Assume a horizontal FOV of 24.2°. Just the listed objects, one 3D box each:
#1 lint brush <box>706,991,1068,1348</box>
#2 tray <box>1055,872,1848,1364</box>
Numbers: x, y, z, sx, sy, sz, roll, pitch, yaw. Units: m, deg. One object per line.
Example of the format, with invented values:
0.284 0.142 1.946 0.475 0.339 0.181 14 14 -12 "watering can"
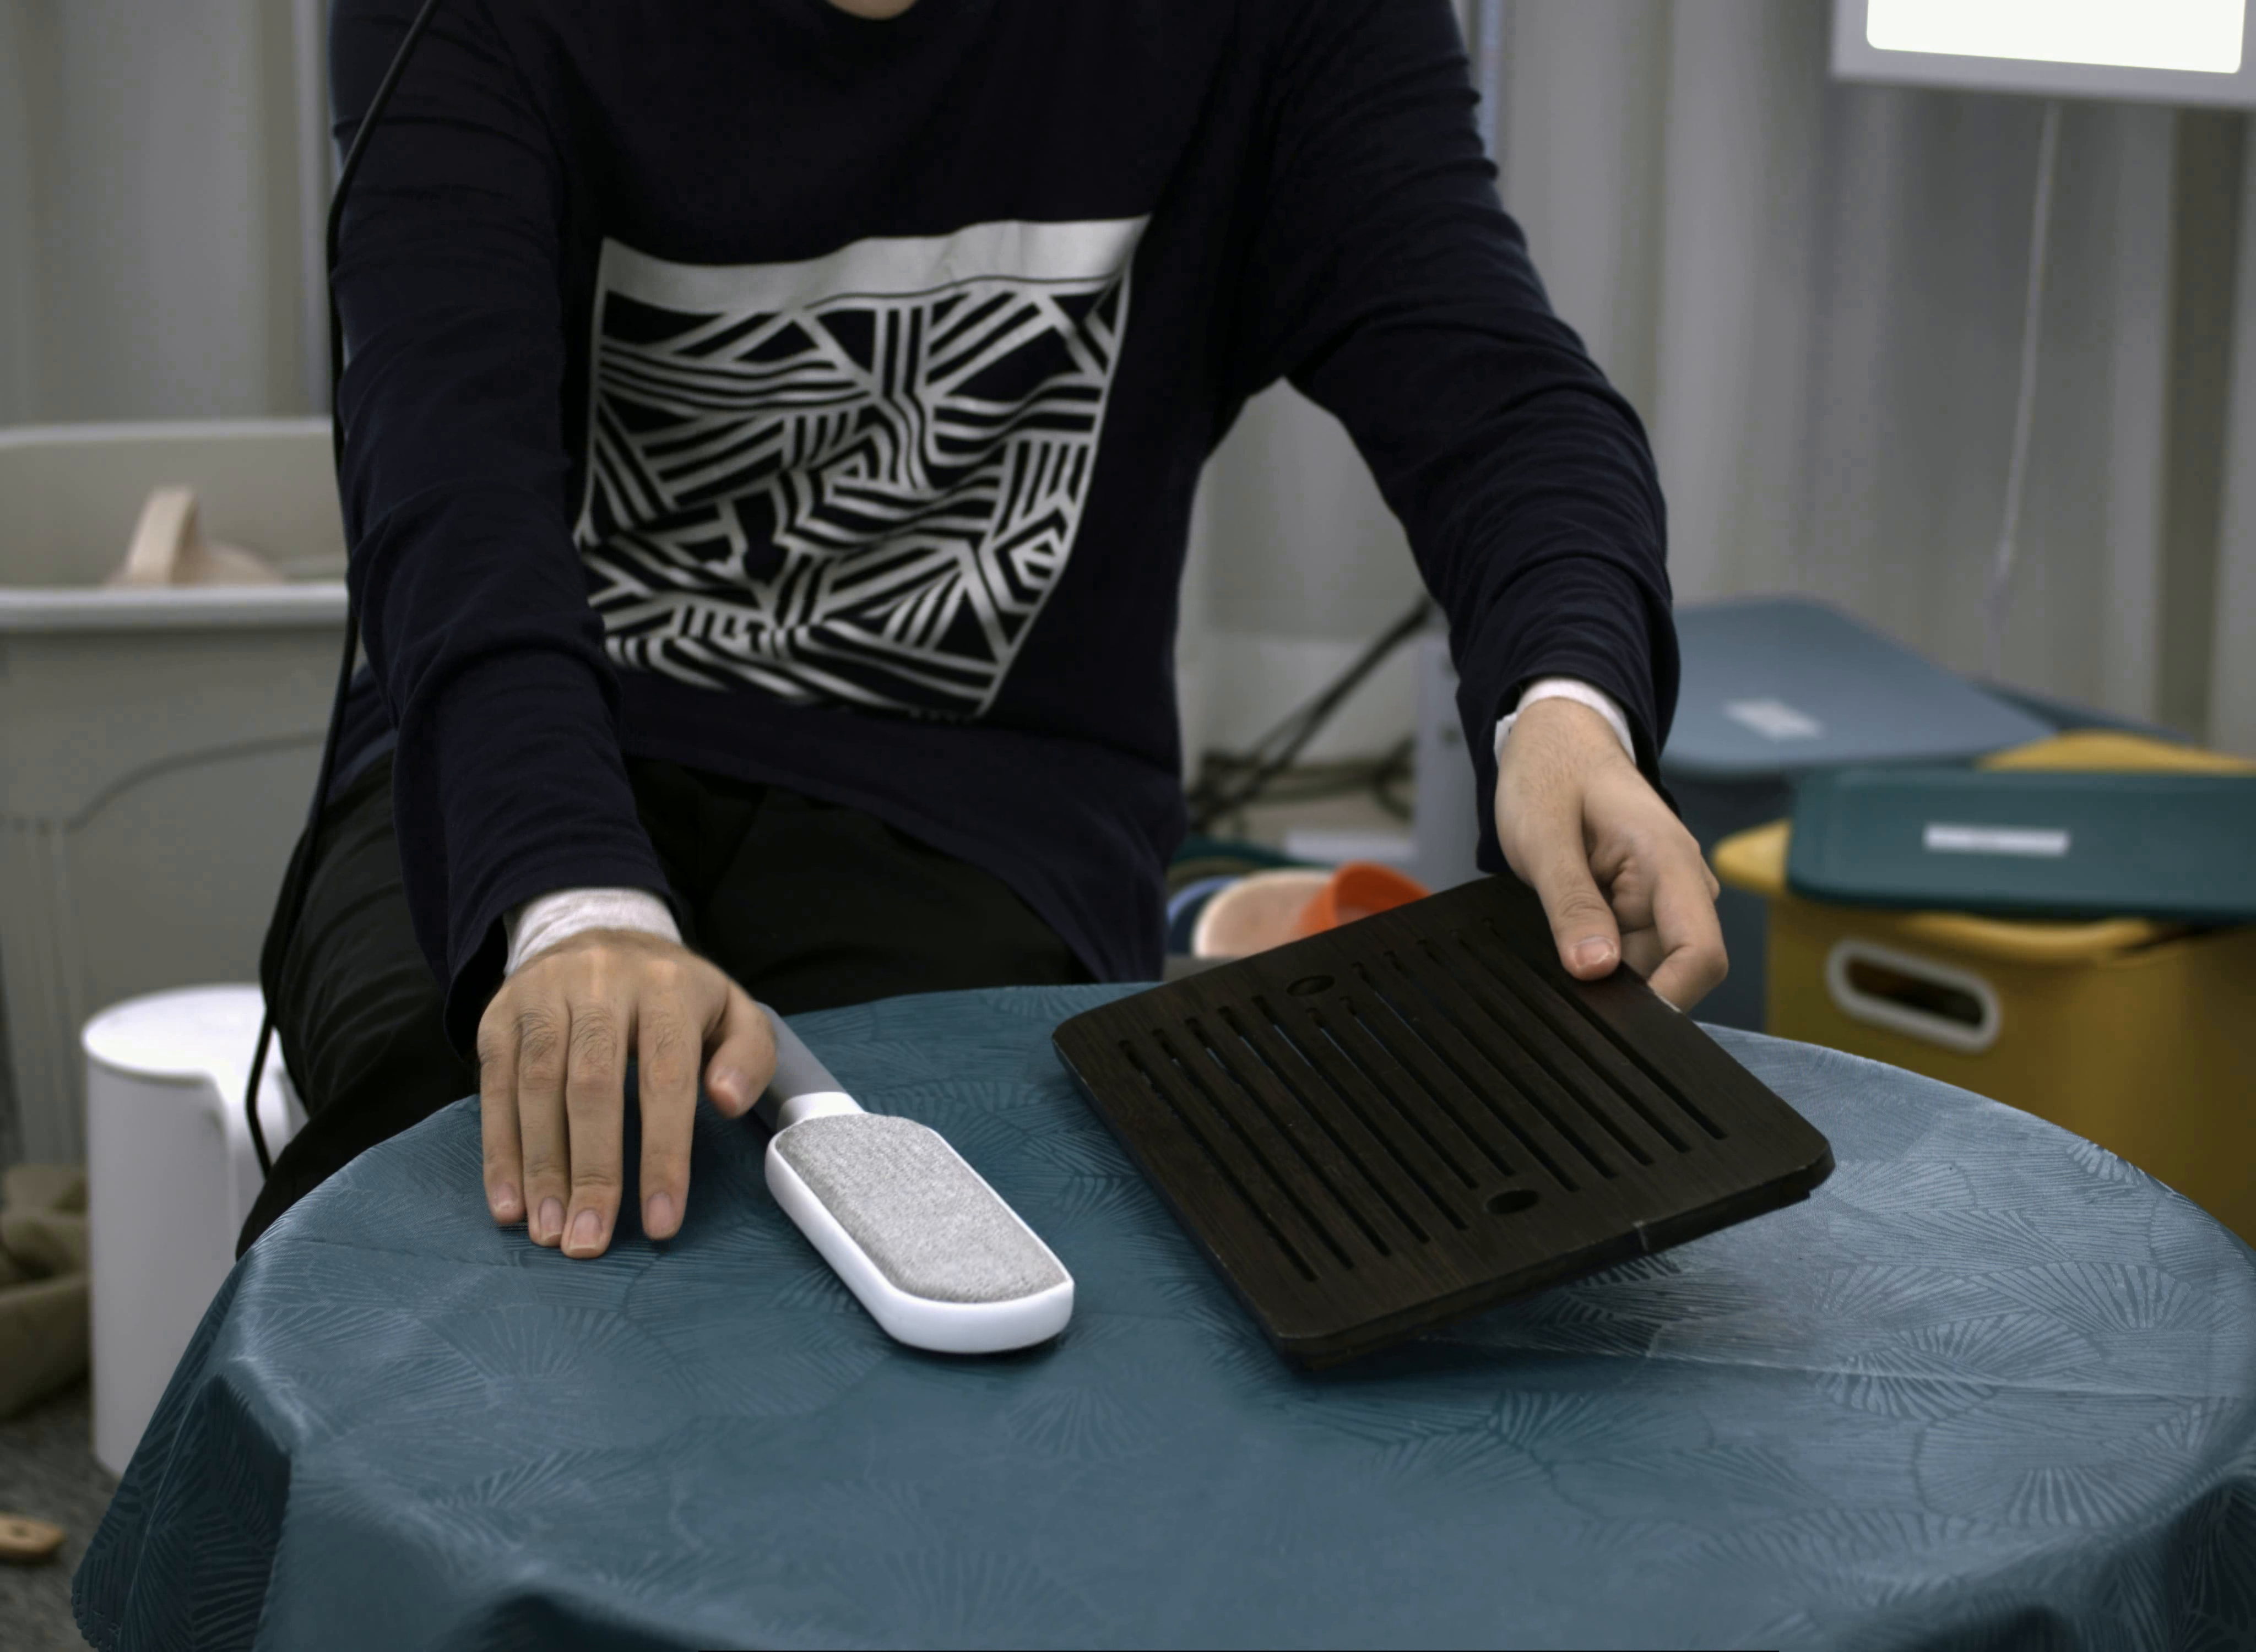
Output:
-0.082 0.101 1.614 0.060 0.021 0.305 -10 18 -16 "lint brush"
0.091 0.085 1.616 0.170 0.019 0.303 -19 19 -10 "tray"
